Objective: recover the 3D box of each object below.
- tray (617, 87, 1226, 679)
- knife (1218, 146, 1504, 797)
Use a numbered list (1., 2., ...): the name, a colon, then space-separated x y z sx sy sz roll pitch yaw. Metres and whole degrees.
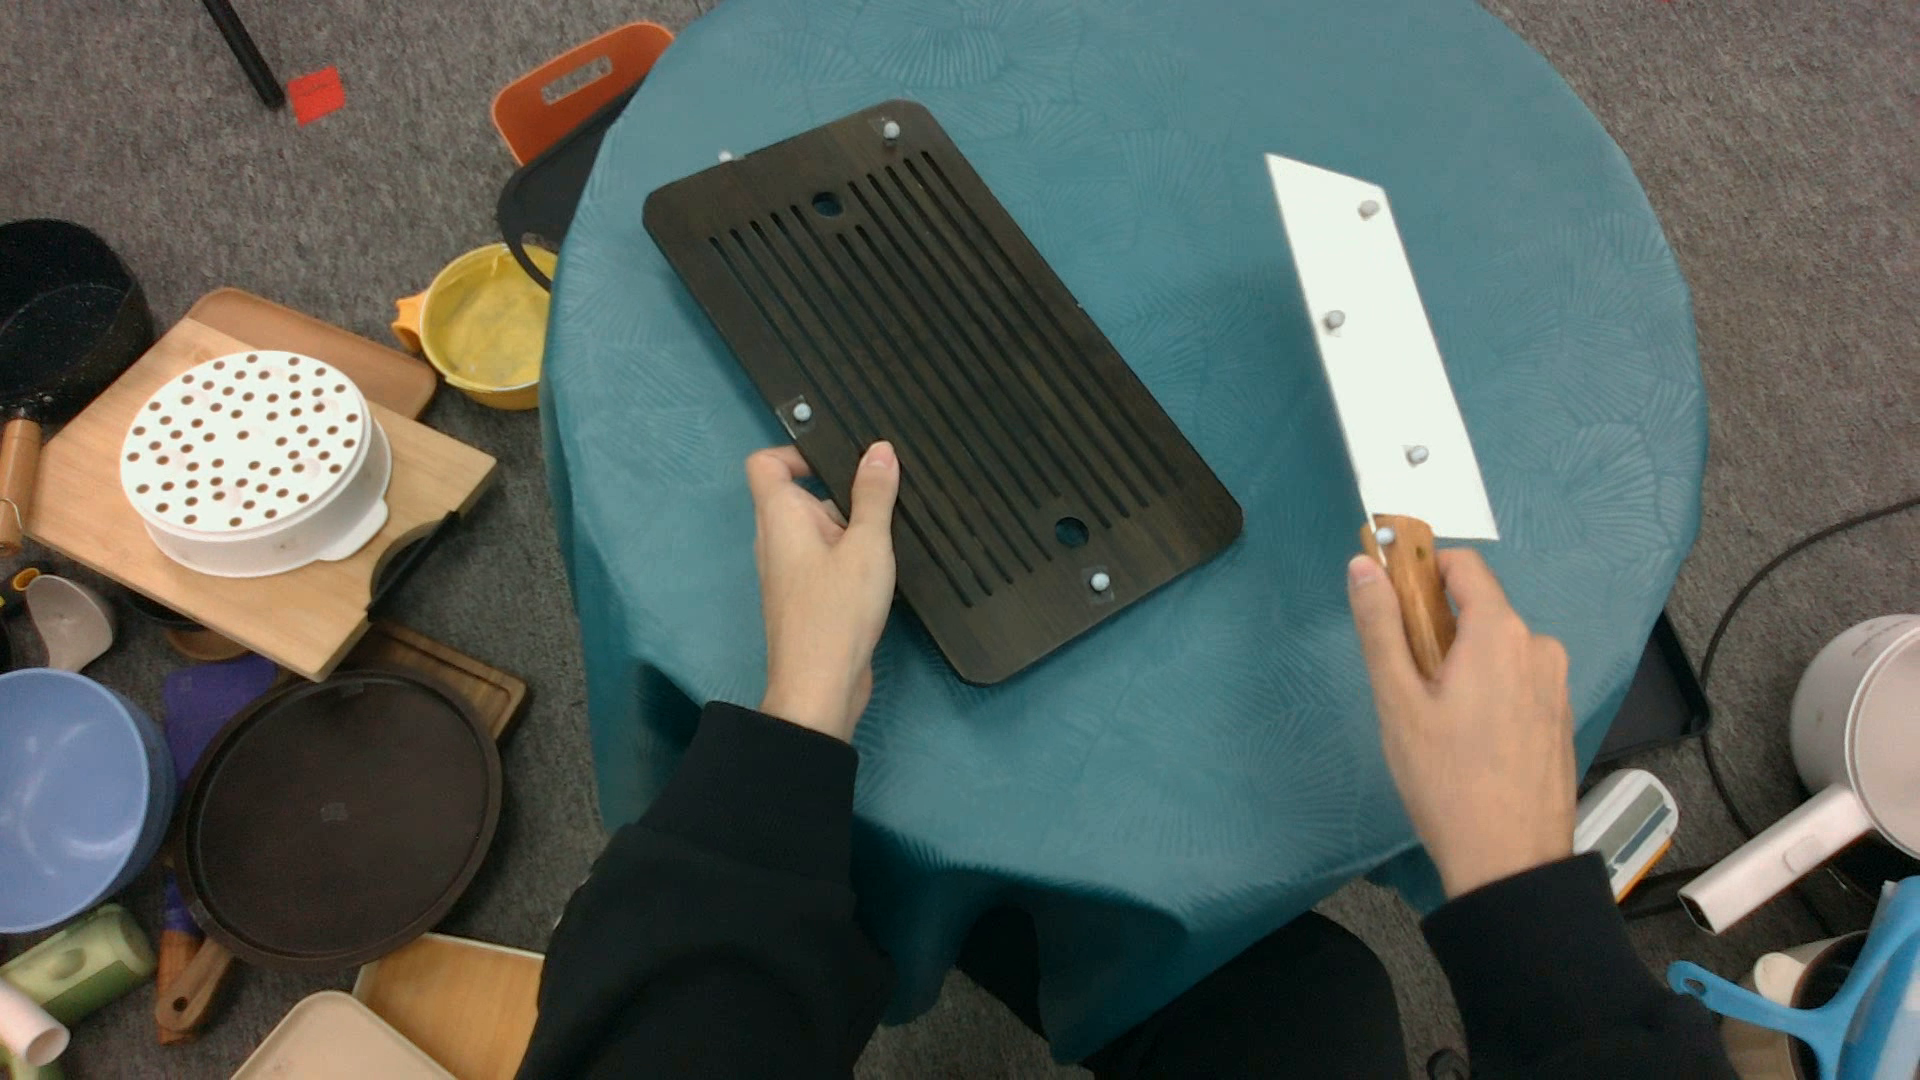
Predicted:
1. tray: -0.021 -0.089 0.675 0.171 0.018 0.306 -29 73 -23
2. knife: 0.187 -0.042 0.609 0.093 0.021 0.306 -2 70 -38
